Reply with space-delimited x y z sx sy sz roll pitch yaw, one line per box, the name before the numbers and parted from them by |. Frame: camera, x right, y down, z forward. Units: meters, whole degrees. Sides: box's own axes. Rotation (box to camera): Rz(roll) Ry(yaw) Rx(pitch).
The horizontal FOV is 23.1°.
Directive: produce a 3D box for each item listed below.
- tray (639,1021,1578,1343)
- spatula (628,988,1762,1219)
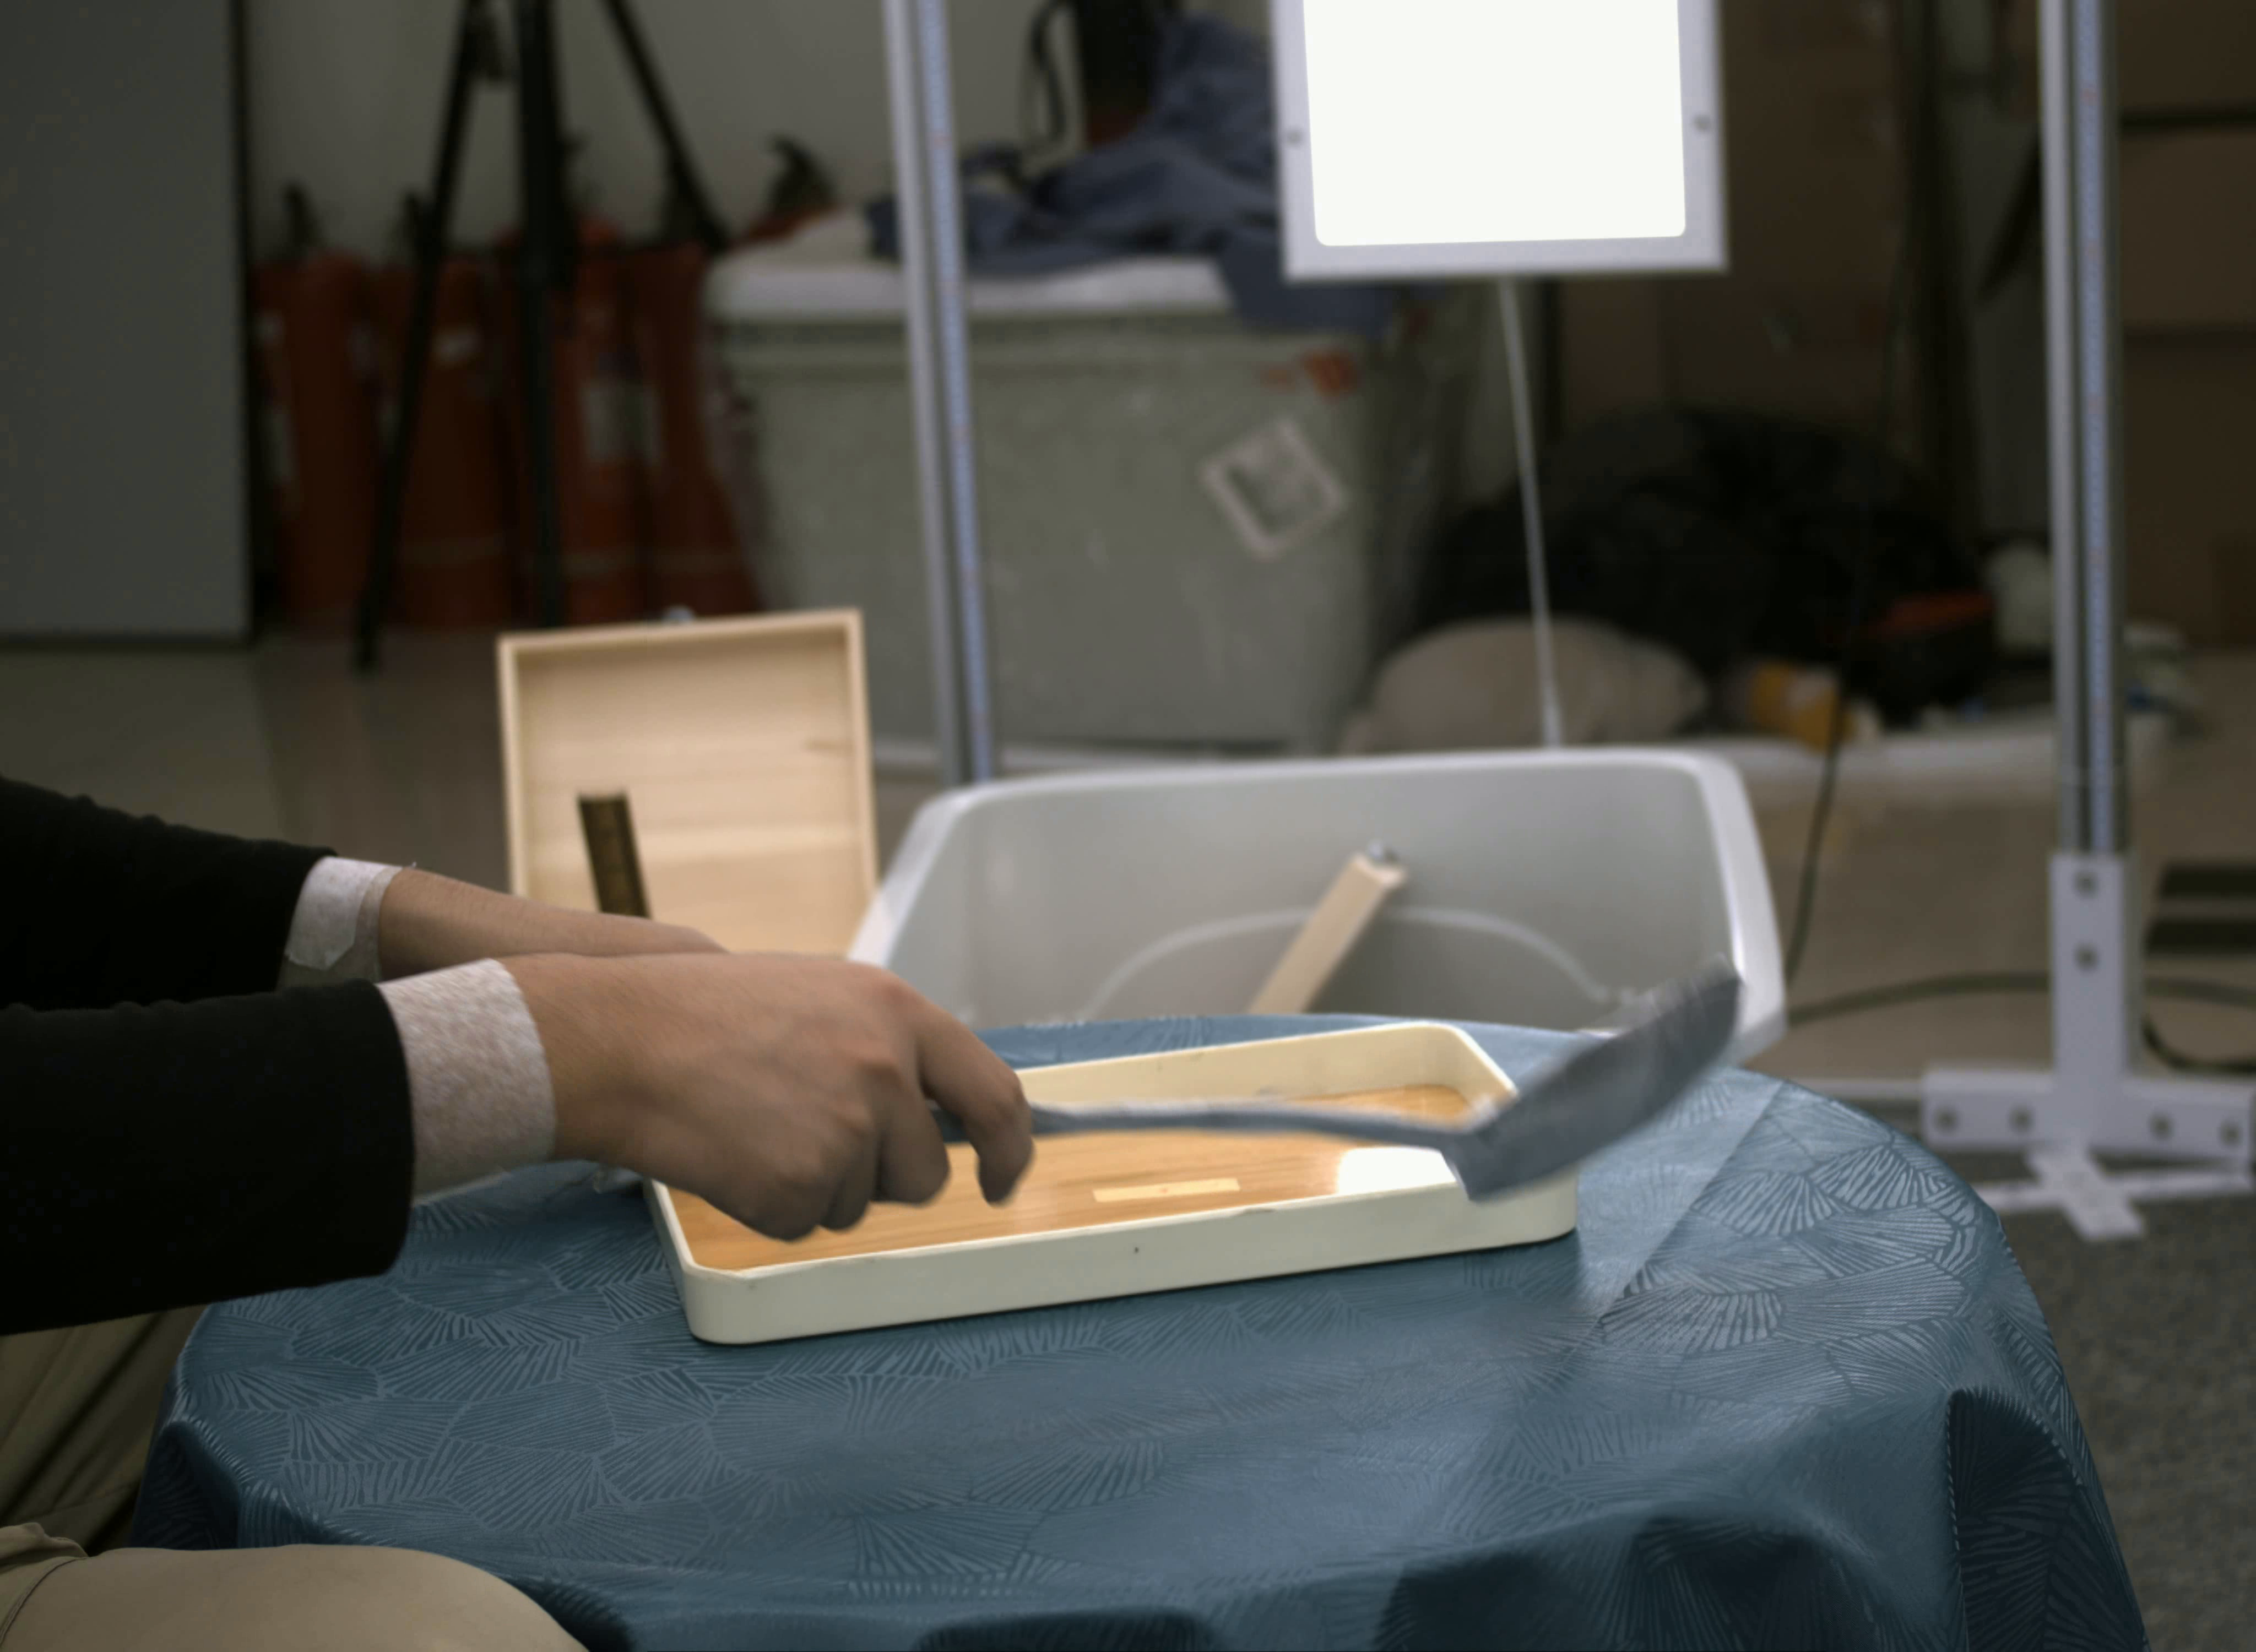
tray | -0.011 0.119 1.876 0.298 0.027 0.192 -7 14 -7
spatula | 0.025 0.092 1.679 0.359 0.100 0.045 0 56 -14
